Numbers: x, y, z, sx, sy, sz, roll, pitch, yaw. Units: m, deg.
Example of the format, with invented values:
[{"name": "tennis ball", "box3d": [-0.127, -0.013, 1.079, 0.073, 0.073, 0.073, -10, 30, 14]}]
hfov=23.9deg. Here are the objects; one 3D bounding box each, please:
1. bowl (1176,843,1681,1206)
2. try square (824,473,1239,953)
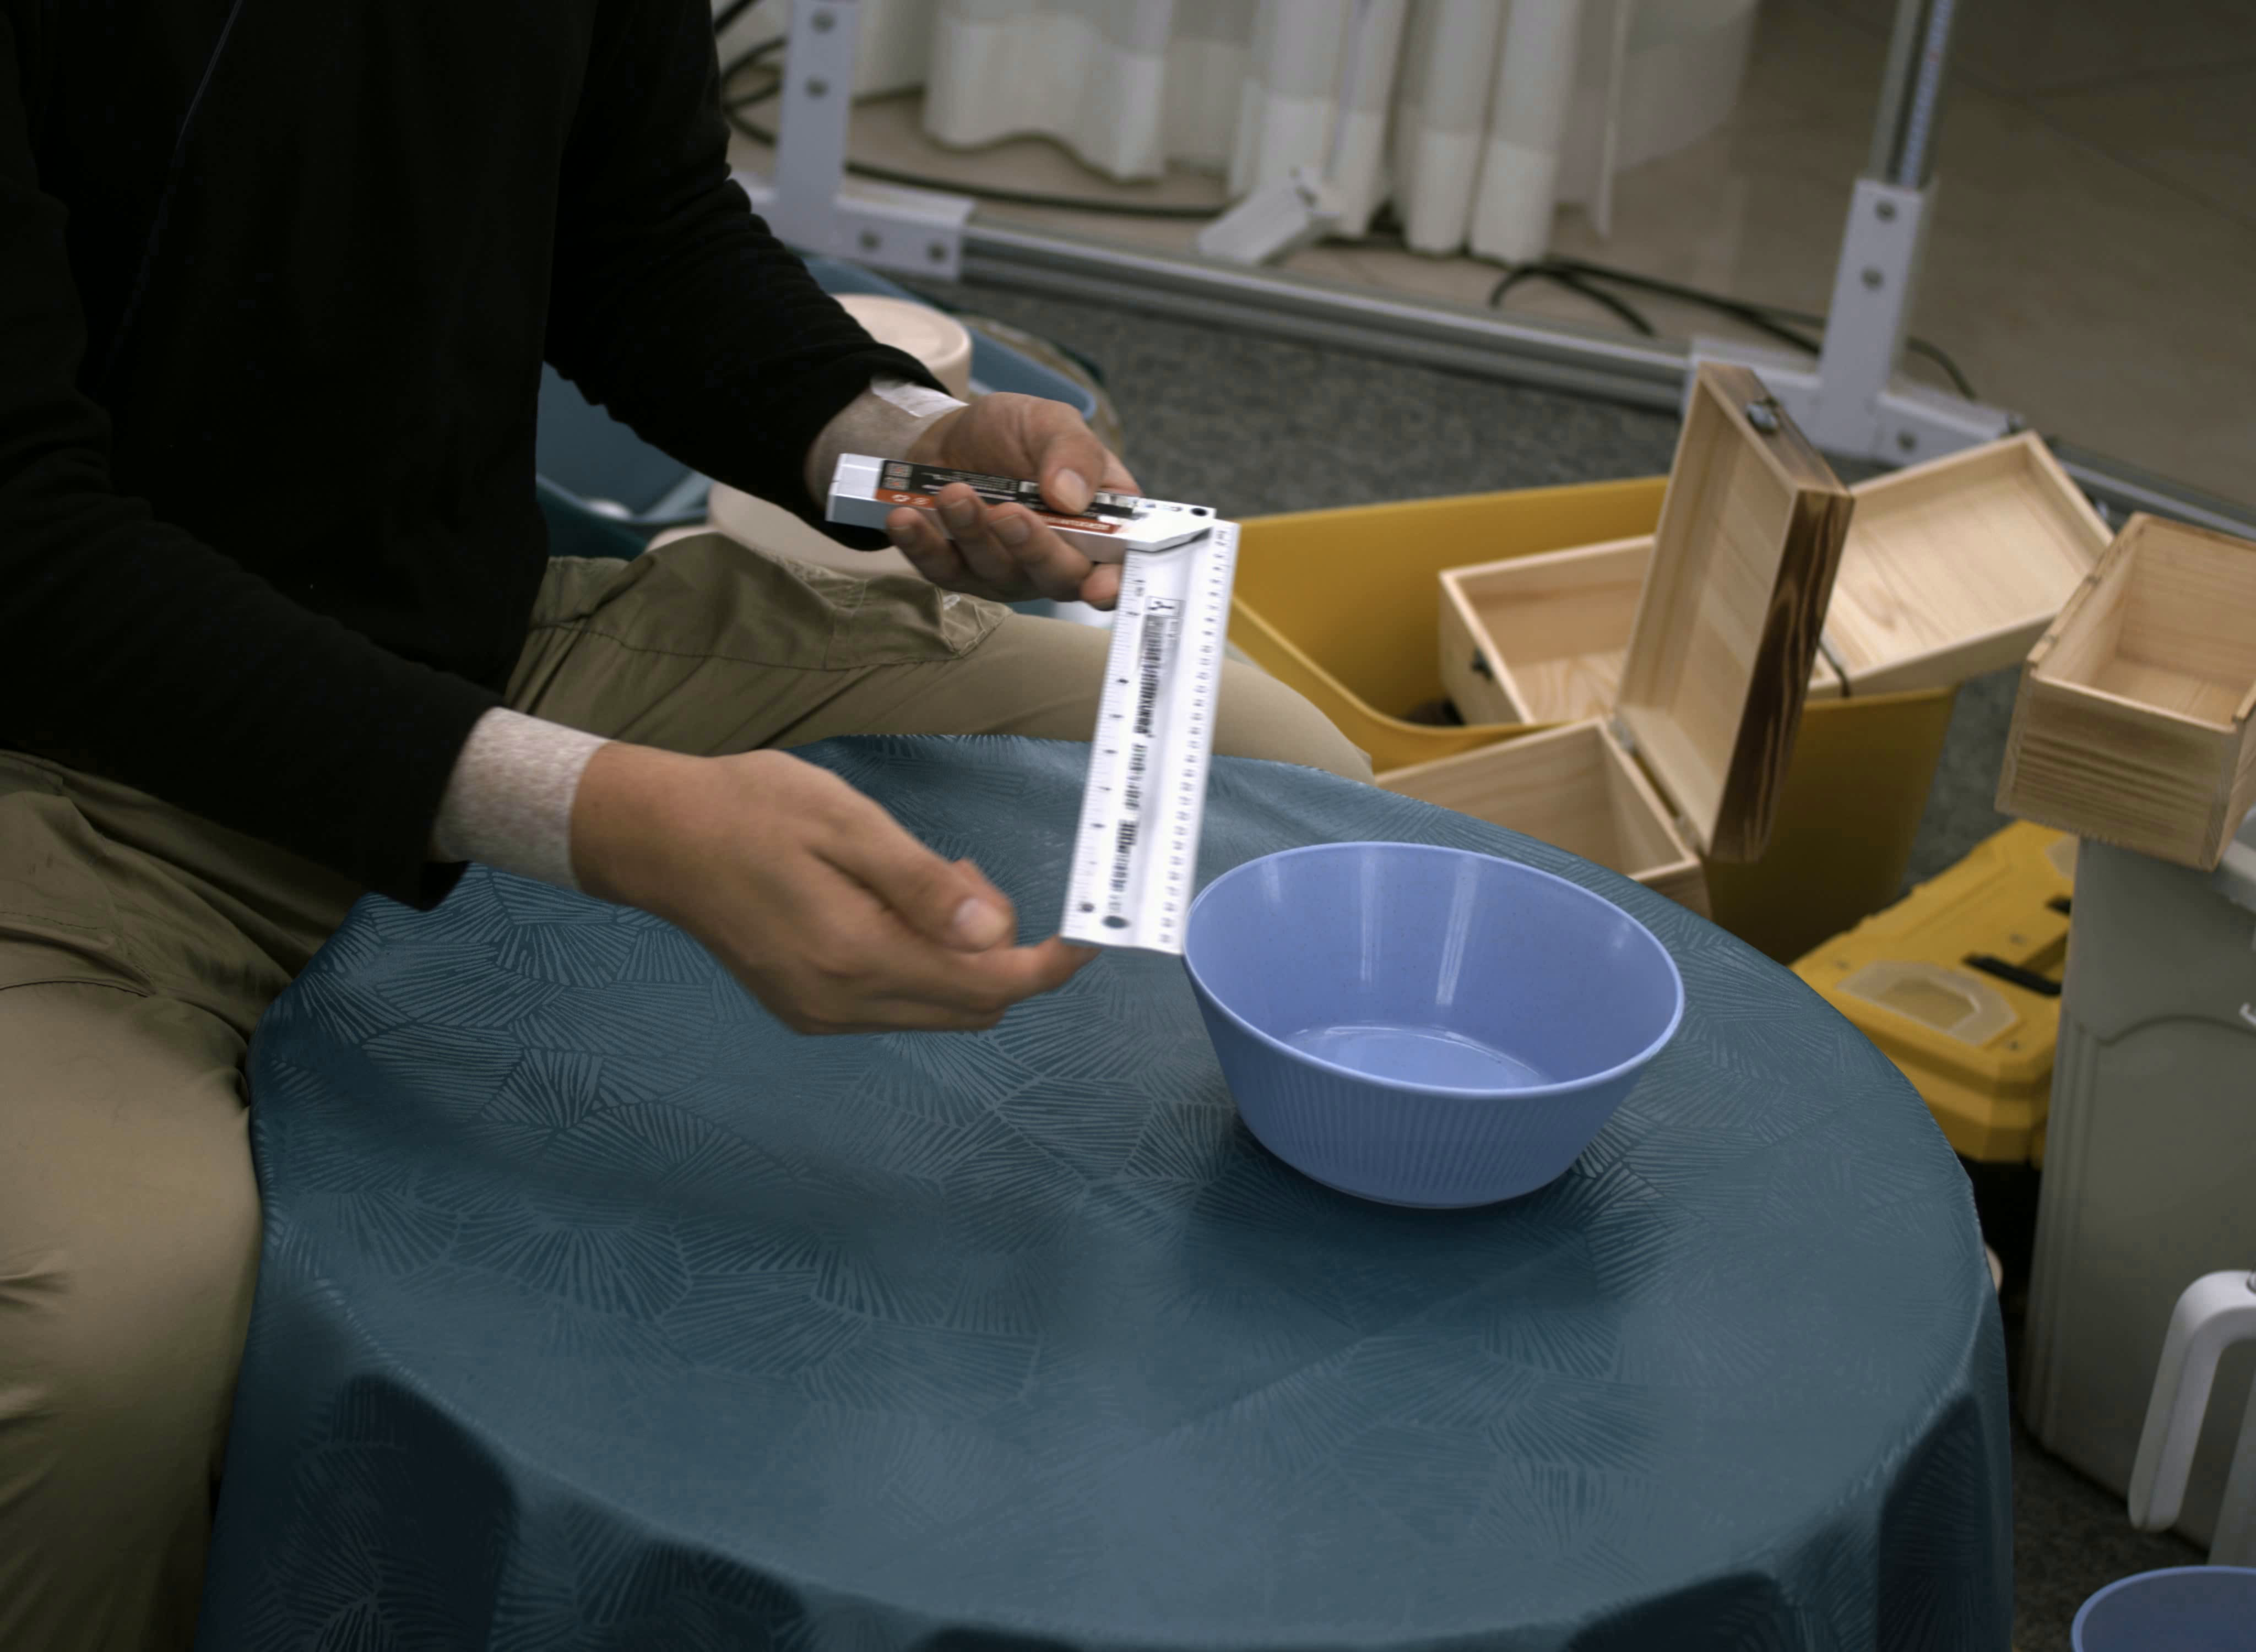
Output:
[{"name": "bowl", "box3d": [0.100, 0.075, 1.844, 0.175, 0.070, 0.177, 5, 27, -3]}, {"name": "try square", "box3d": [-0.046, -0.044, 1.851, 0.152, 0.016, 0.314, 5, 30, 3]}]
